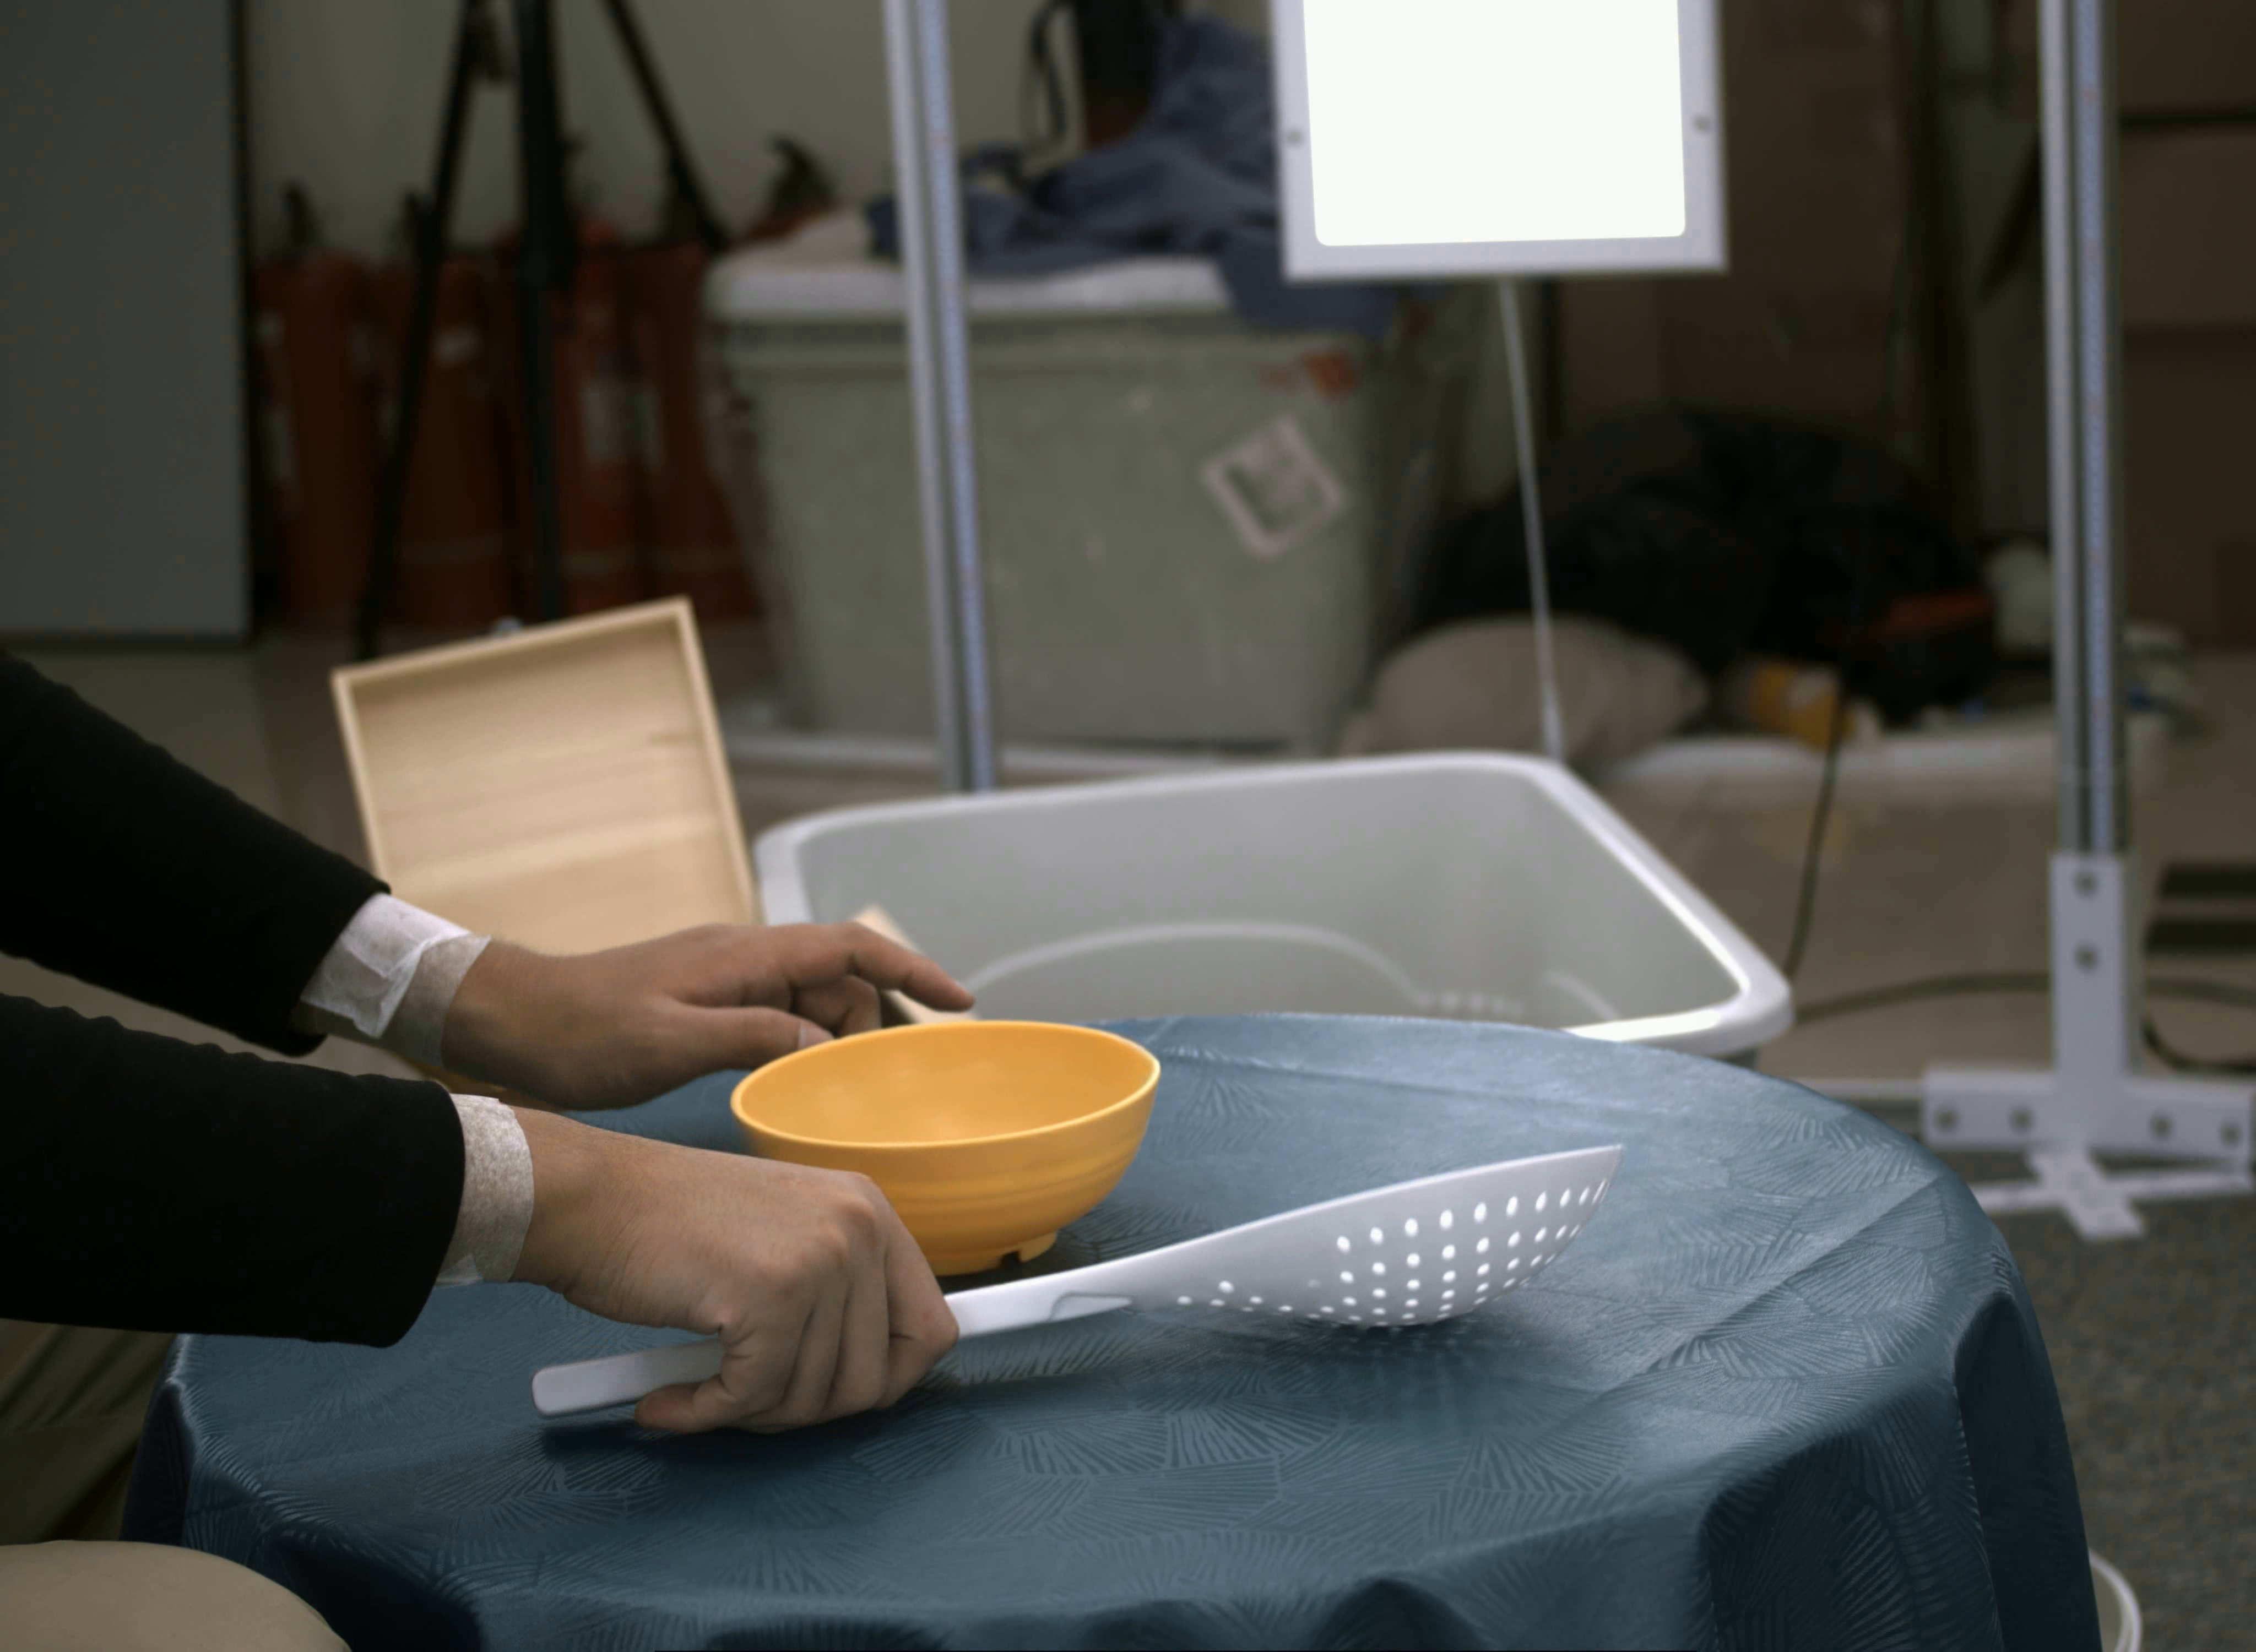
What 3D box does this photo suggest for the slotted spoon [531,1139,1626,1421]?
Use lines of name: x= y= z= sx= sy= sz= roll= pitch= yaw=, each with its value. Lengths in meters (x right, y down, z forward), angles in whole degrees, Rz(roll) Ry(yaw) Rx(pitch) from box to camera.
slotted spoon: x=-0.013 y=0.142 z=1.716 sx=0.347 sy=0.046 sz=0.136 roll=-6 pitch=-10 yaw=-4

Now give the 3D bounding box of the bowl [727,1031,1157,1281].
bowl: x=-0.061 y=0.115 z=1.850 sx=0.145 sy=0.060 sz=0.145 roll=-3 pitch=13 yaw=-1
